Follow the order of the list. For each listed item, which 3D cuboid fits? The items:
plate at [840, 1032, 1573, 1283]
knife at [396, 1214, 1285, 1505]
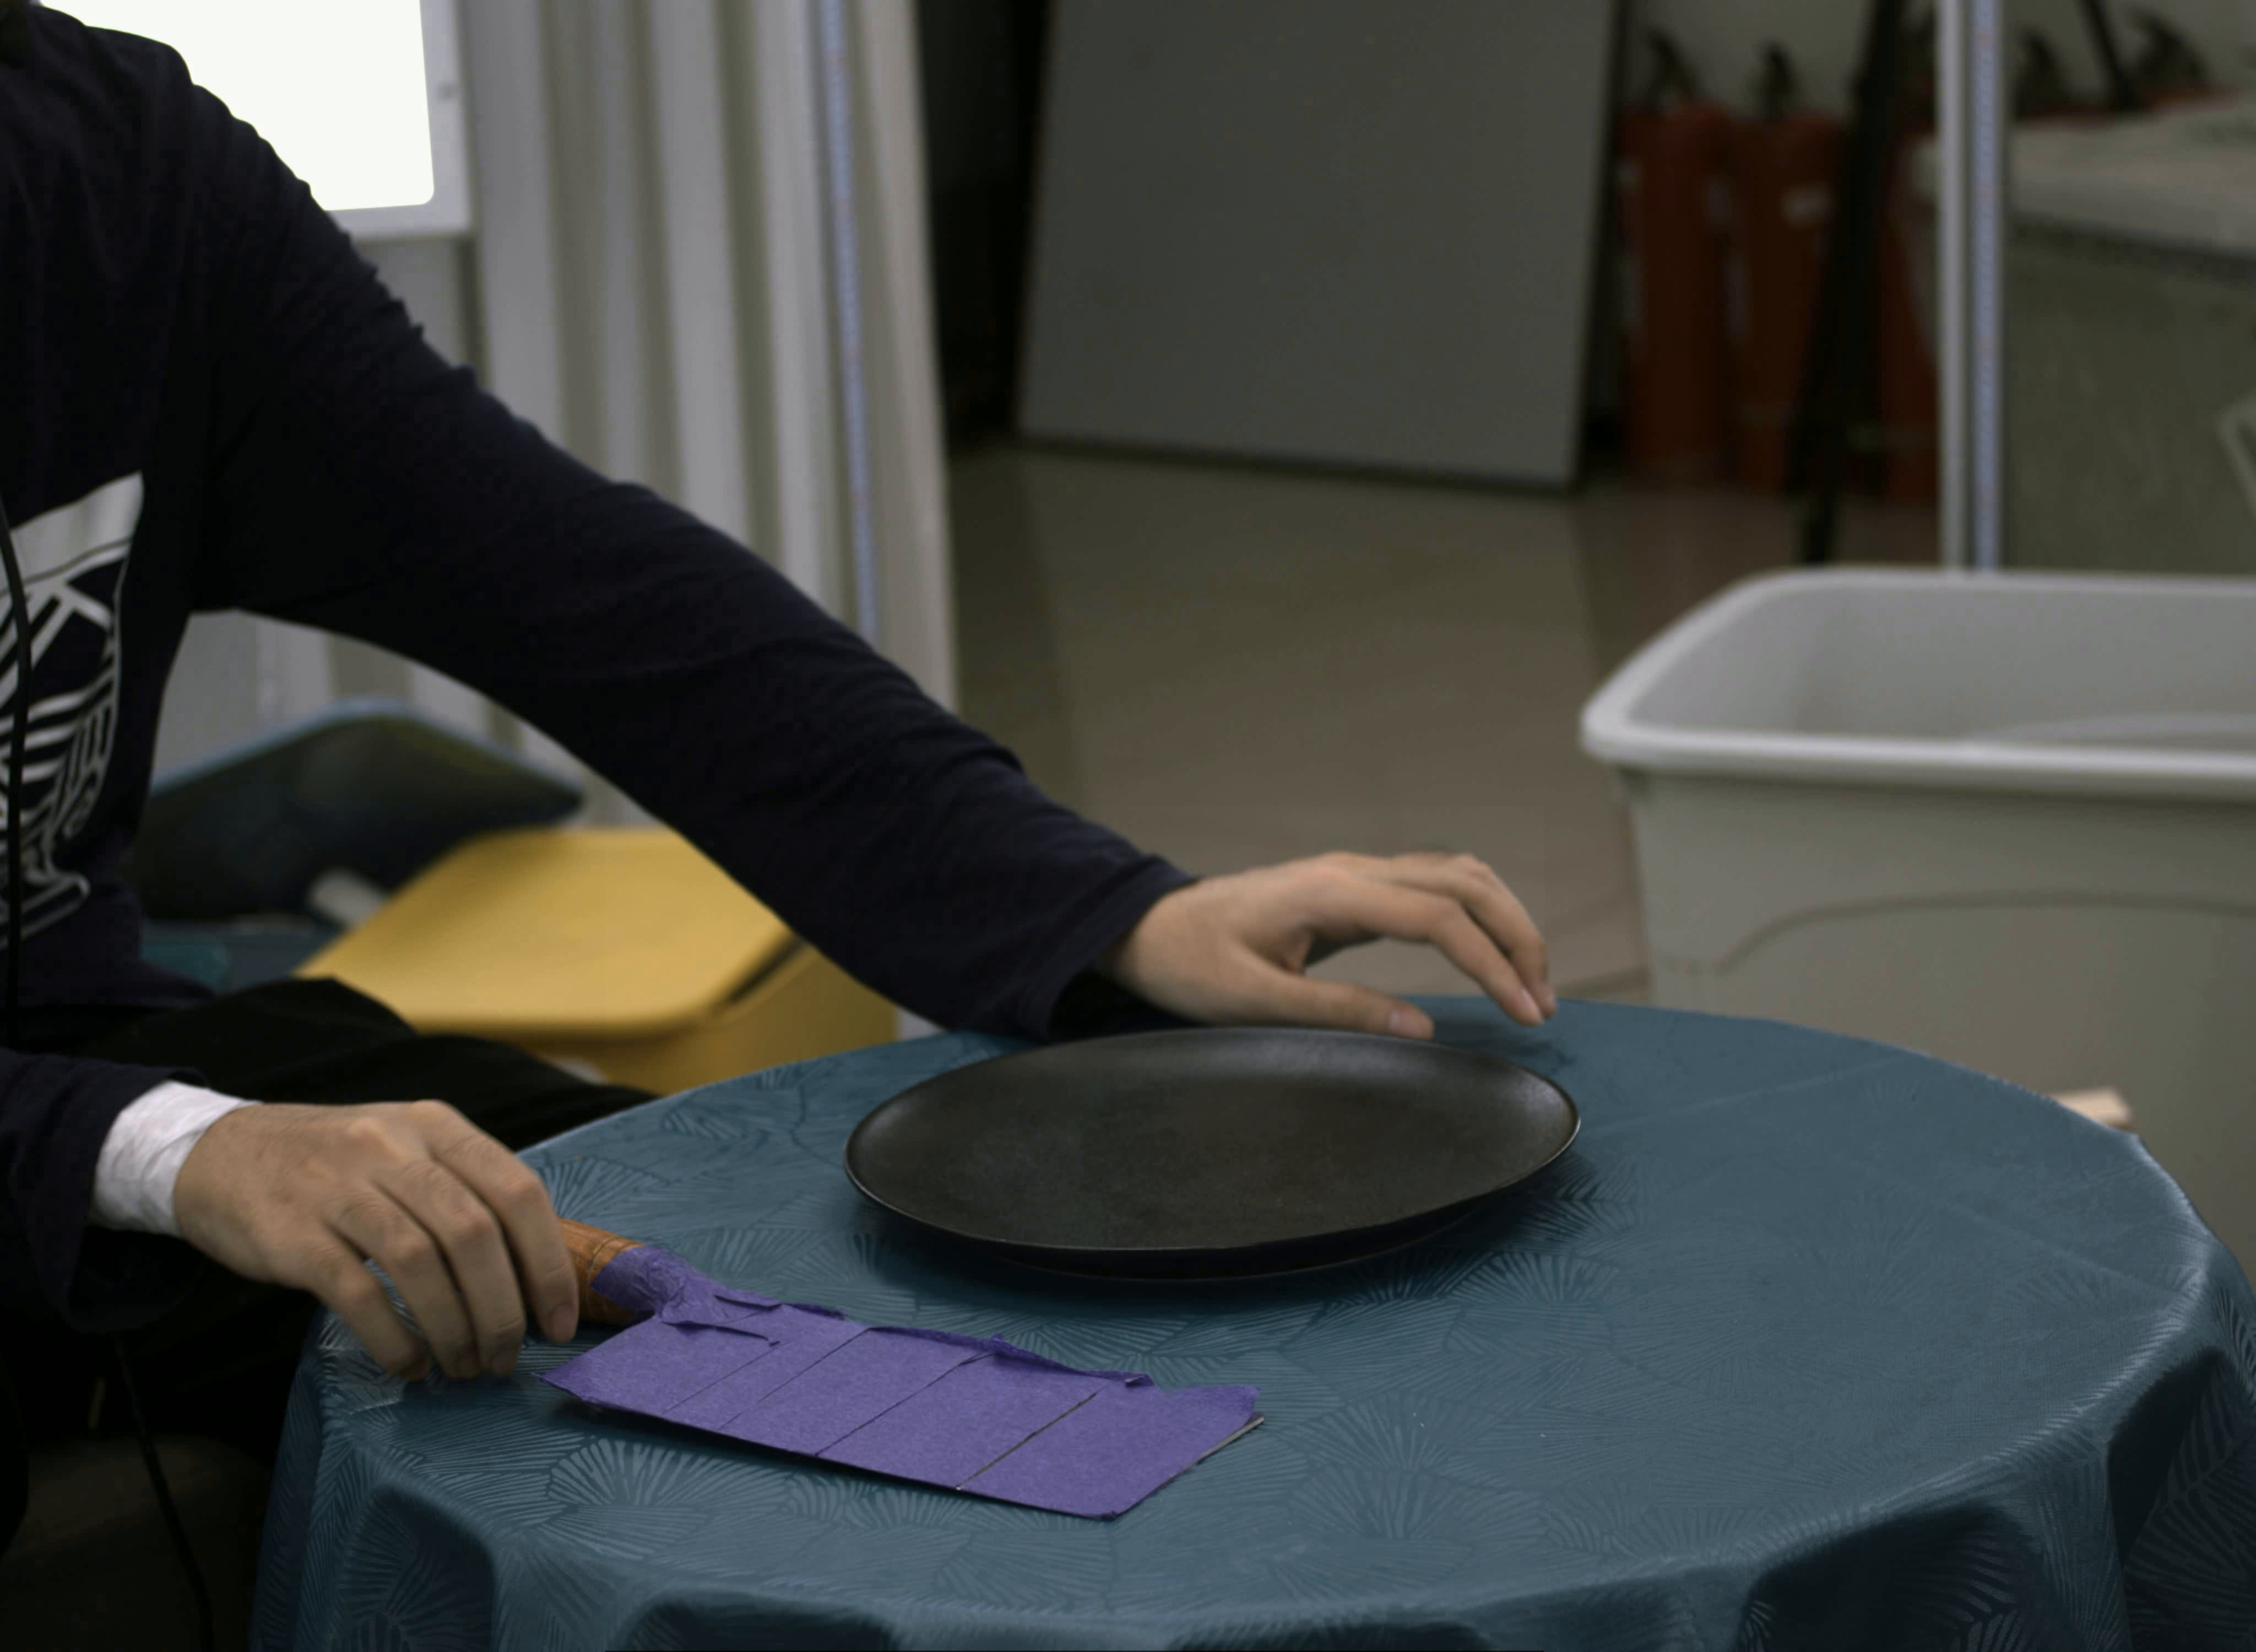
[{"bbox_3d":[0.026,0.111,1.764,0.241,0.024,0.245,-4,13,0],"label":"plate"},{"bbox_3d":[-0.109,0.157,1.603,0.317,0.032,0.102,5,16,34],"label":"knife"}]
